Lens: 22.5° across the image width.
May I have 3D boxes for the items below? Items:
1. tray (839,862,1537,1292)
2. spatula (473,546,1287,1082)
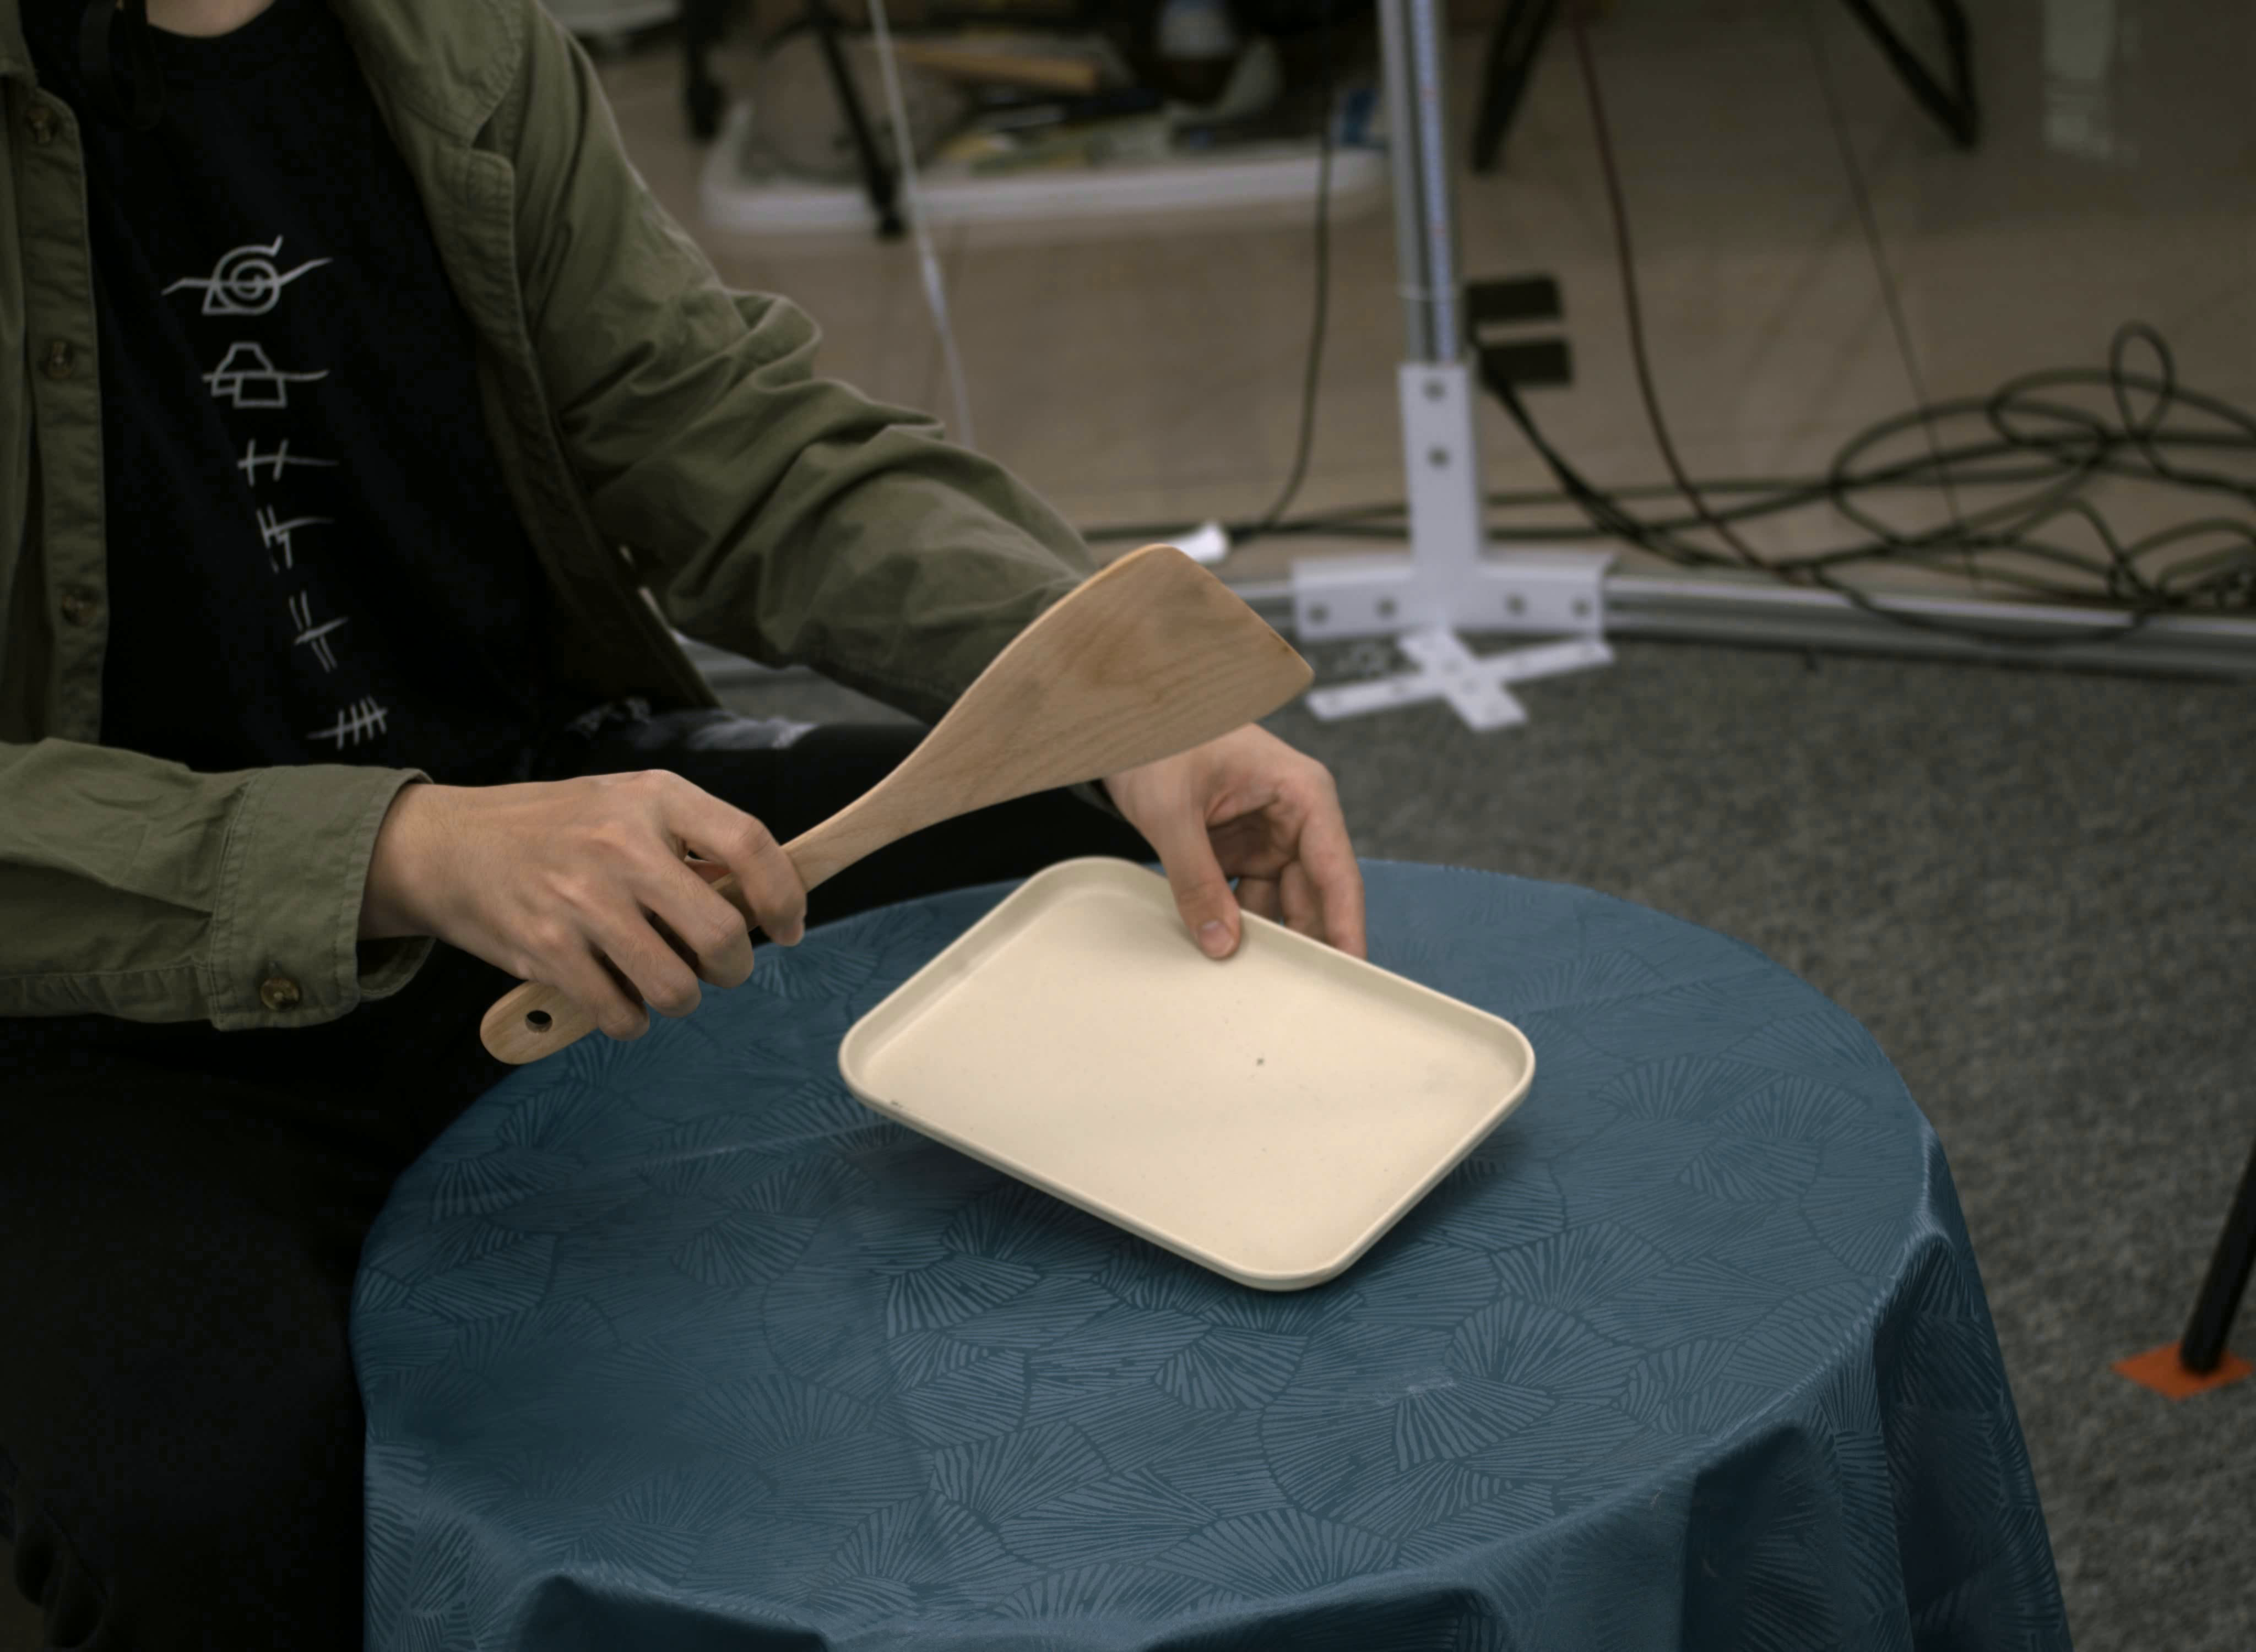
[{"bbox_3d":[0.022,0.095,2.160,0.237,0.018,0.169,23,46,31],"label":"tray"},{"bbox_3d":[-0.098,0.004,1.969,0.329,0.081,0.016,-32,30,17],"label":"spatula"}]
